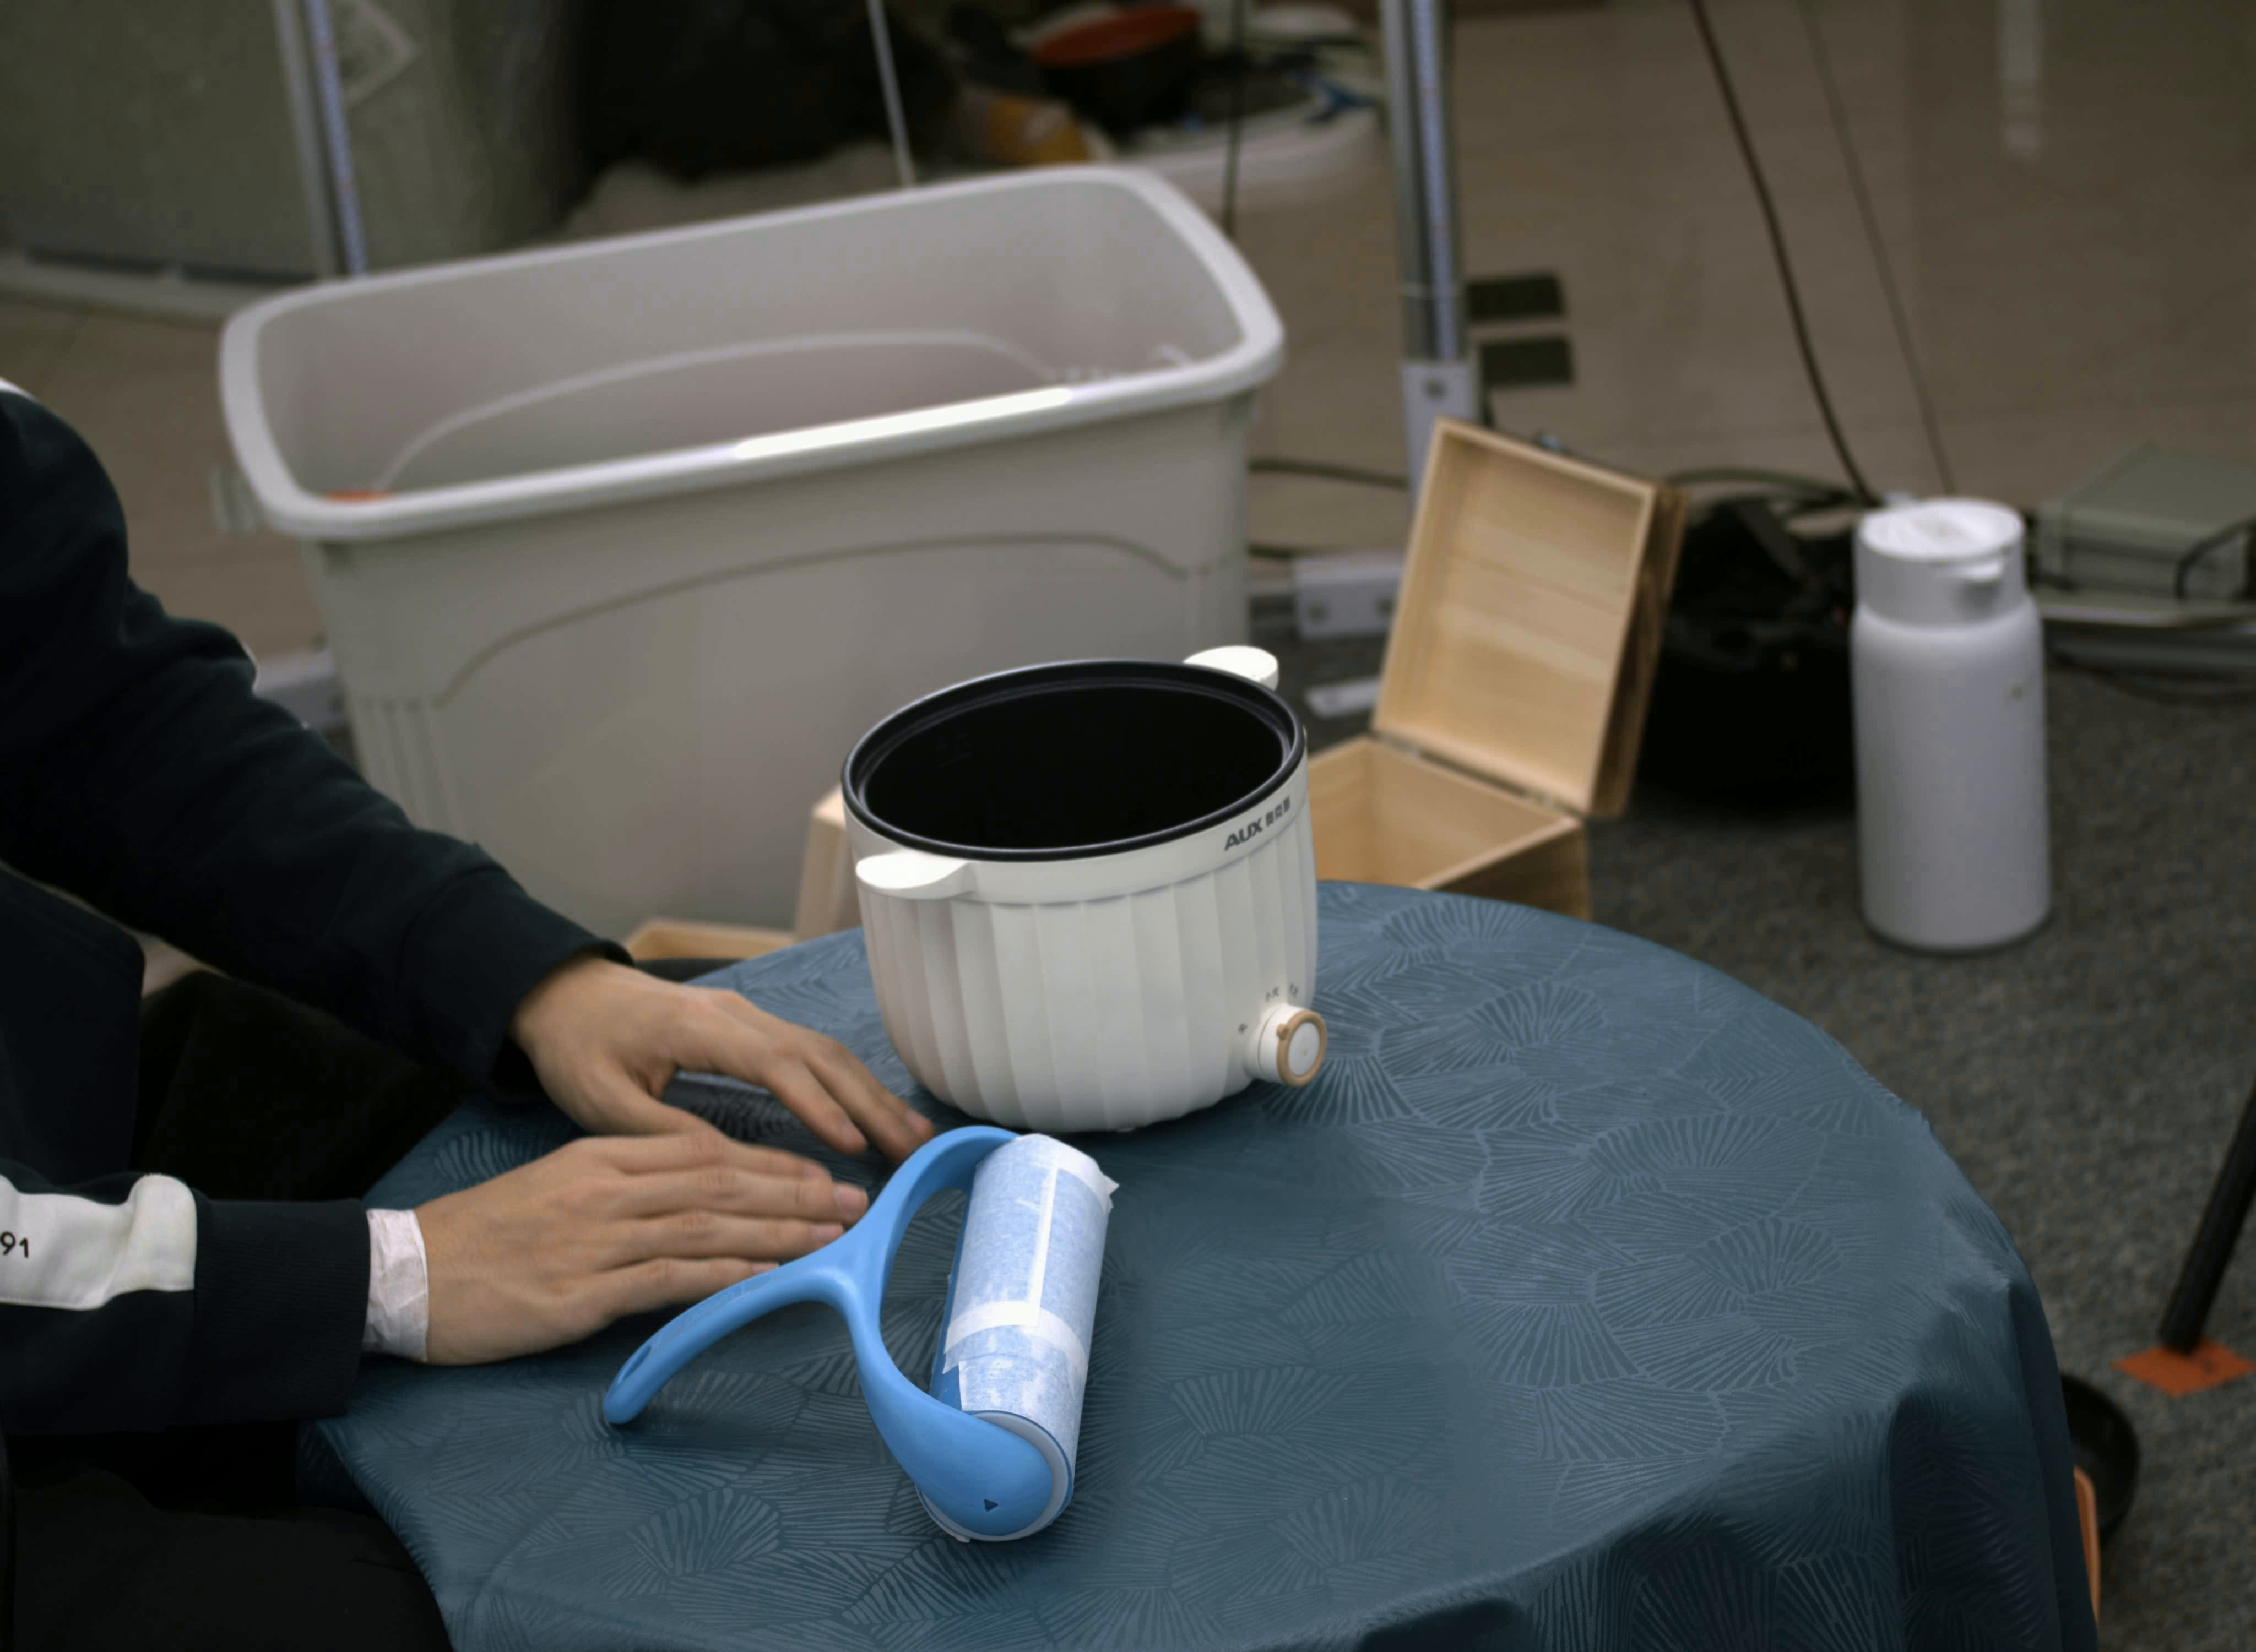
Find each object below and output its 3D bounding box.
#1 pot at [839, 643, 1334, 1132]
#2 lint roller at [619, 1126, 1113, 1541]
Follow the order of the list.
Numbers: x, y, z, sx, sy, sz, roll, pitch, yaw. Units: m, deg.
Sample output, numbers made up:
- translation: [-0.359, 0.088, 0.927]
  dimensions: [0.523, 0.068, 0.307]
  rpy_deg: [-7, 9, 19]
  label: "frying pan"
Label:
- translation: [-0.009, 0.031, 2.210]
  dimensions: [0.189, 0.145, 0.238]
  rpy_deg: [10, 31, 37]
  label: "pot"
- translation: [-0.095, 0.183, 2.008]
  dimensions: [0.180, 0.069, 0.225]
  rpy_deg: [-5, 27, 2]
  label: "lint roller"
